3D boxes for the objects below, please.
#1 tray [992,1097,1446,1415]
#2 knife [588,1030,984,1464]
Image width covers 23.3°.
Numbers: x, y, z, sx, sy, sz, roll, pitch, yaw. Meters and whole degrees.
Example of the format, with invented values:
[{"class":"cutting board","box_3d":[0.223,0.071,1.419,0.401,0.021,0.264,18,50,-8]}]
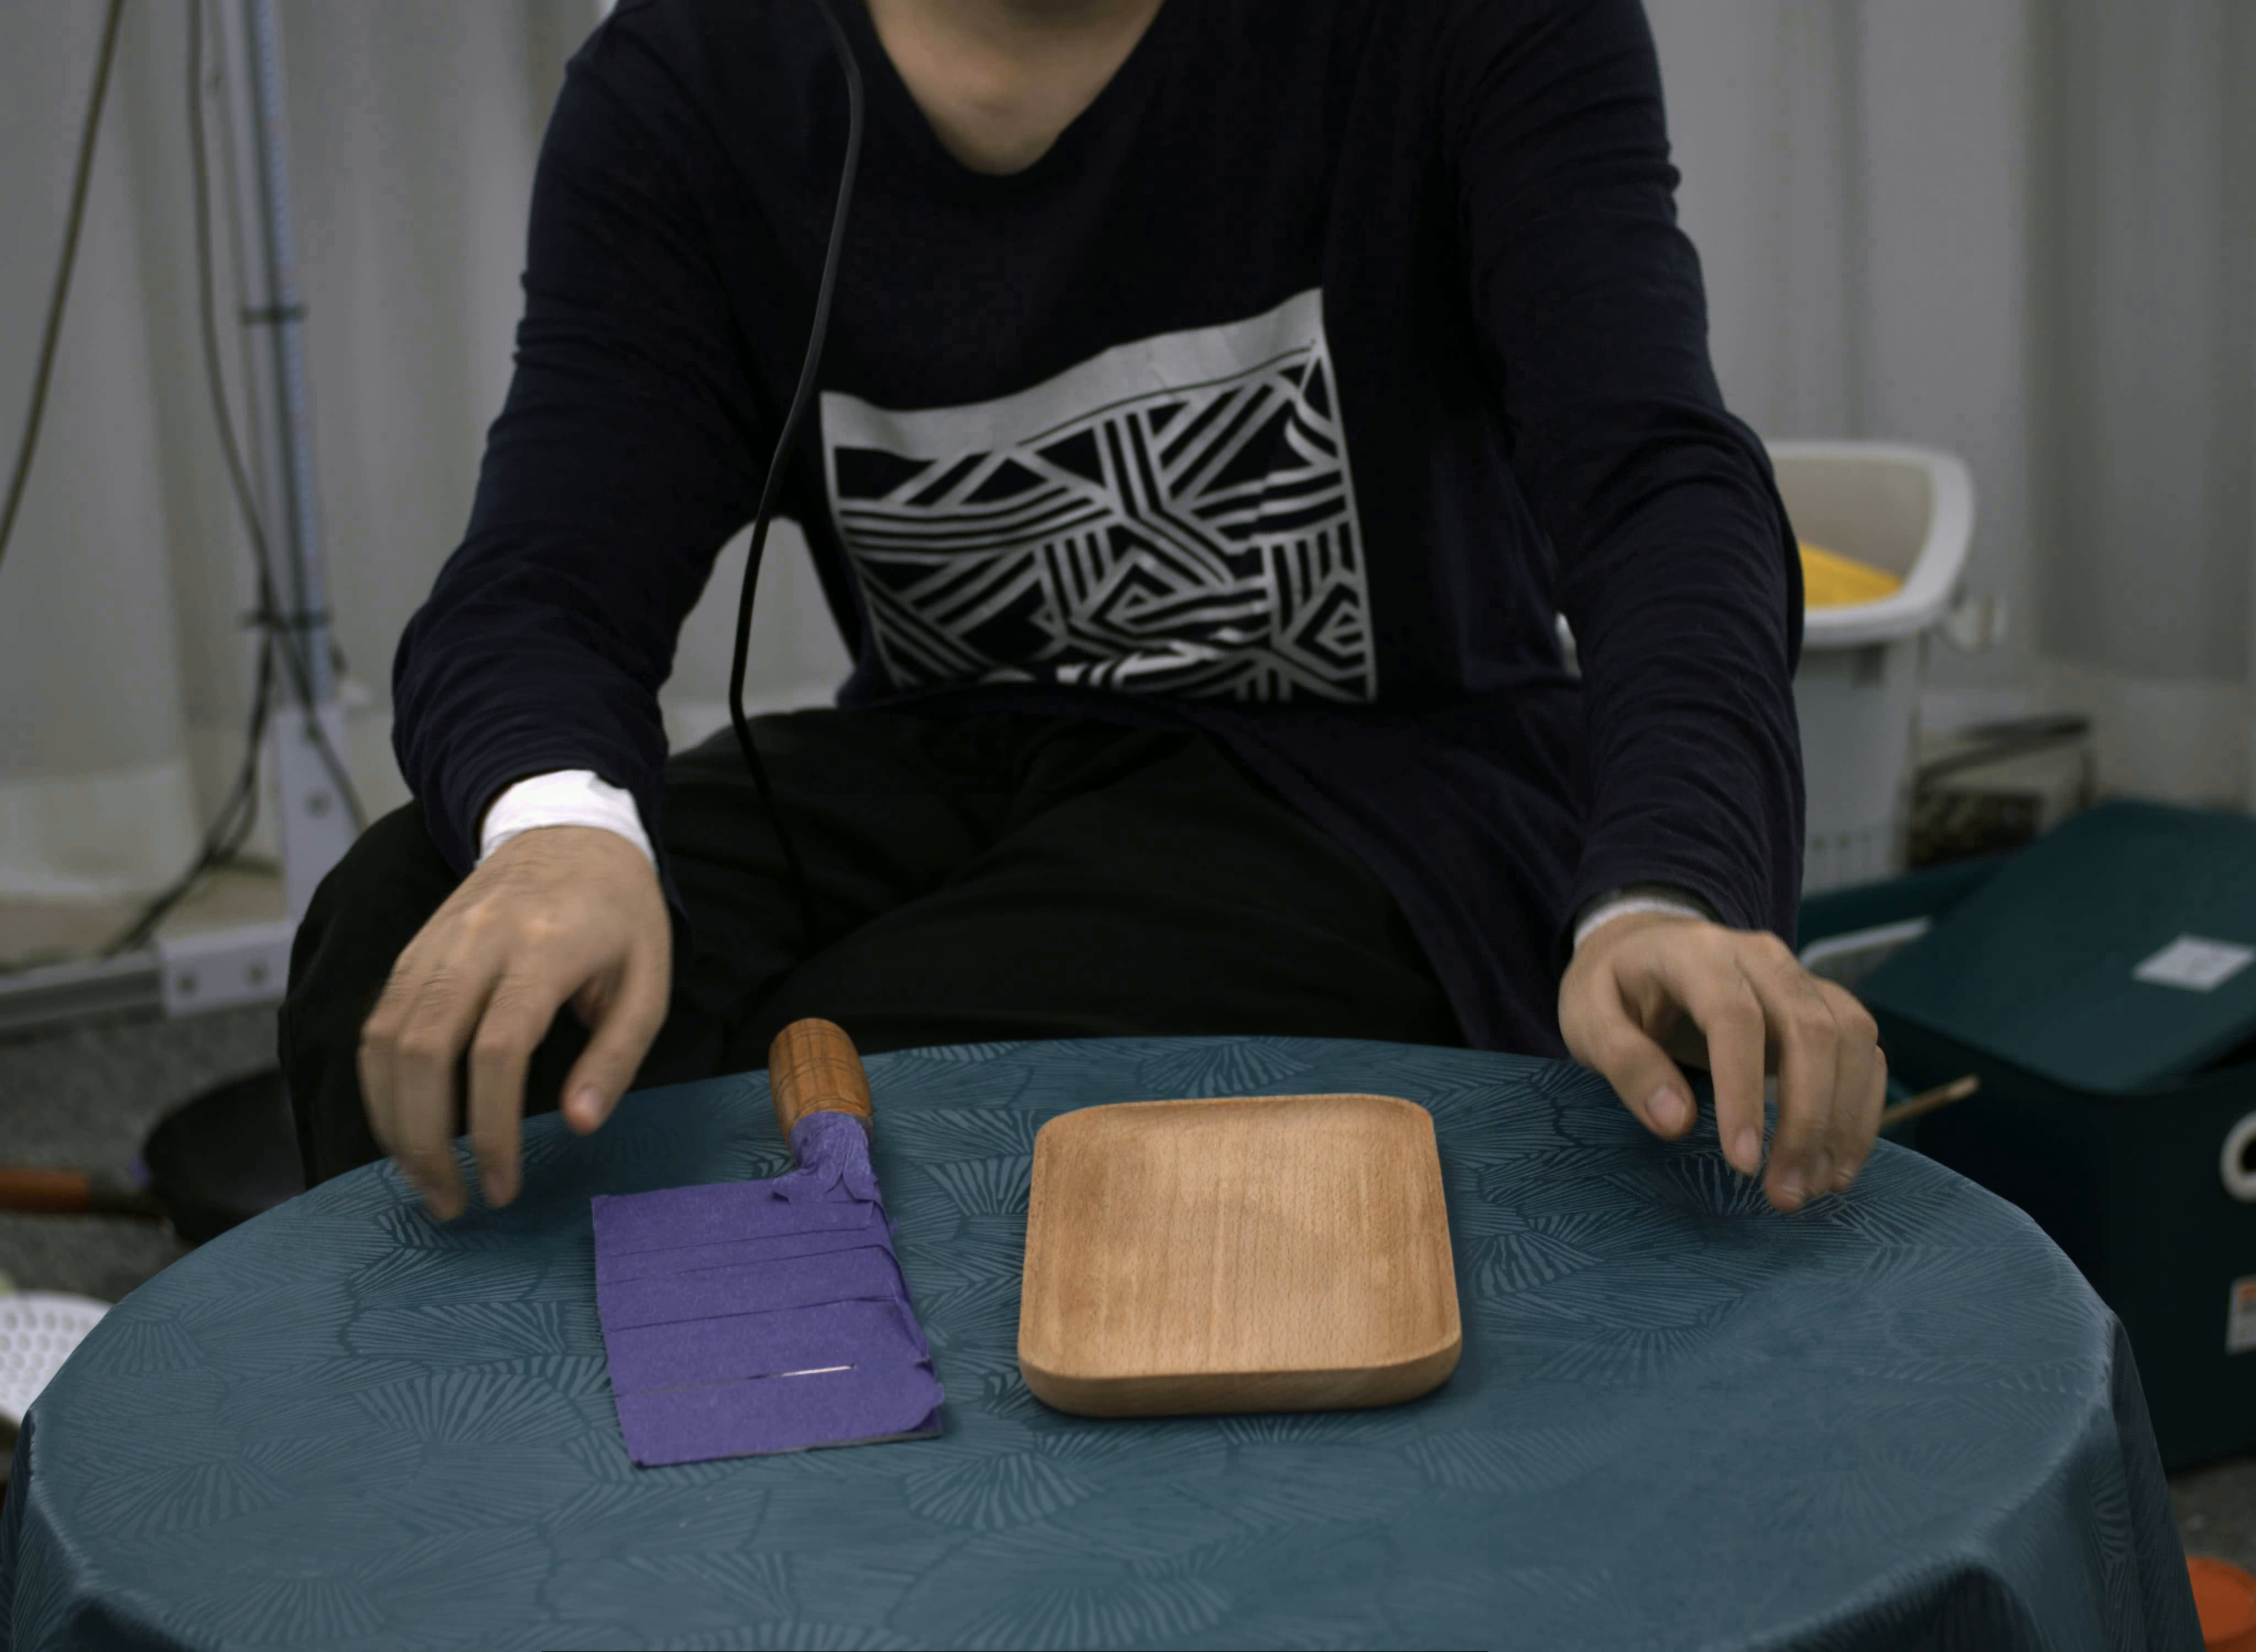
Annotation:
[{"class":"tray","box_3d":[0.031,0.126,1.637,0.130,0.023,0.252,-4,15,5]},{"class":"knife","box_3d":[-0.114,0.123,1.656,0.103,0.032,0.318,-4,15,-8]}]
